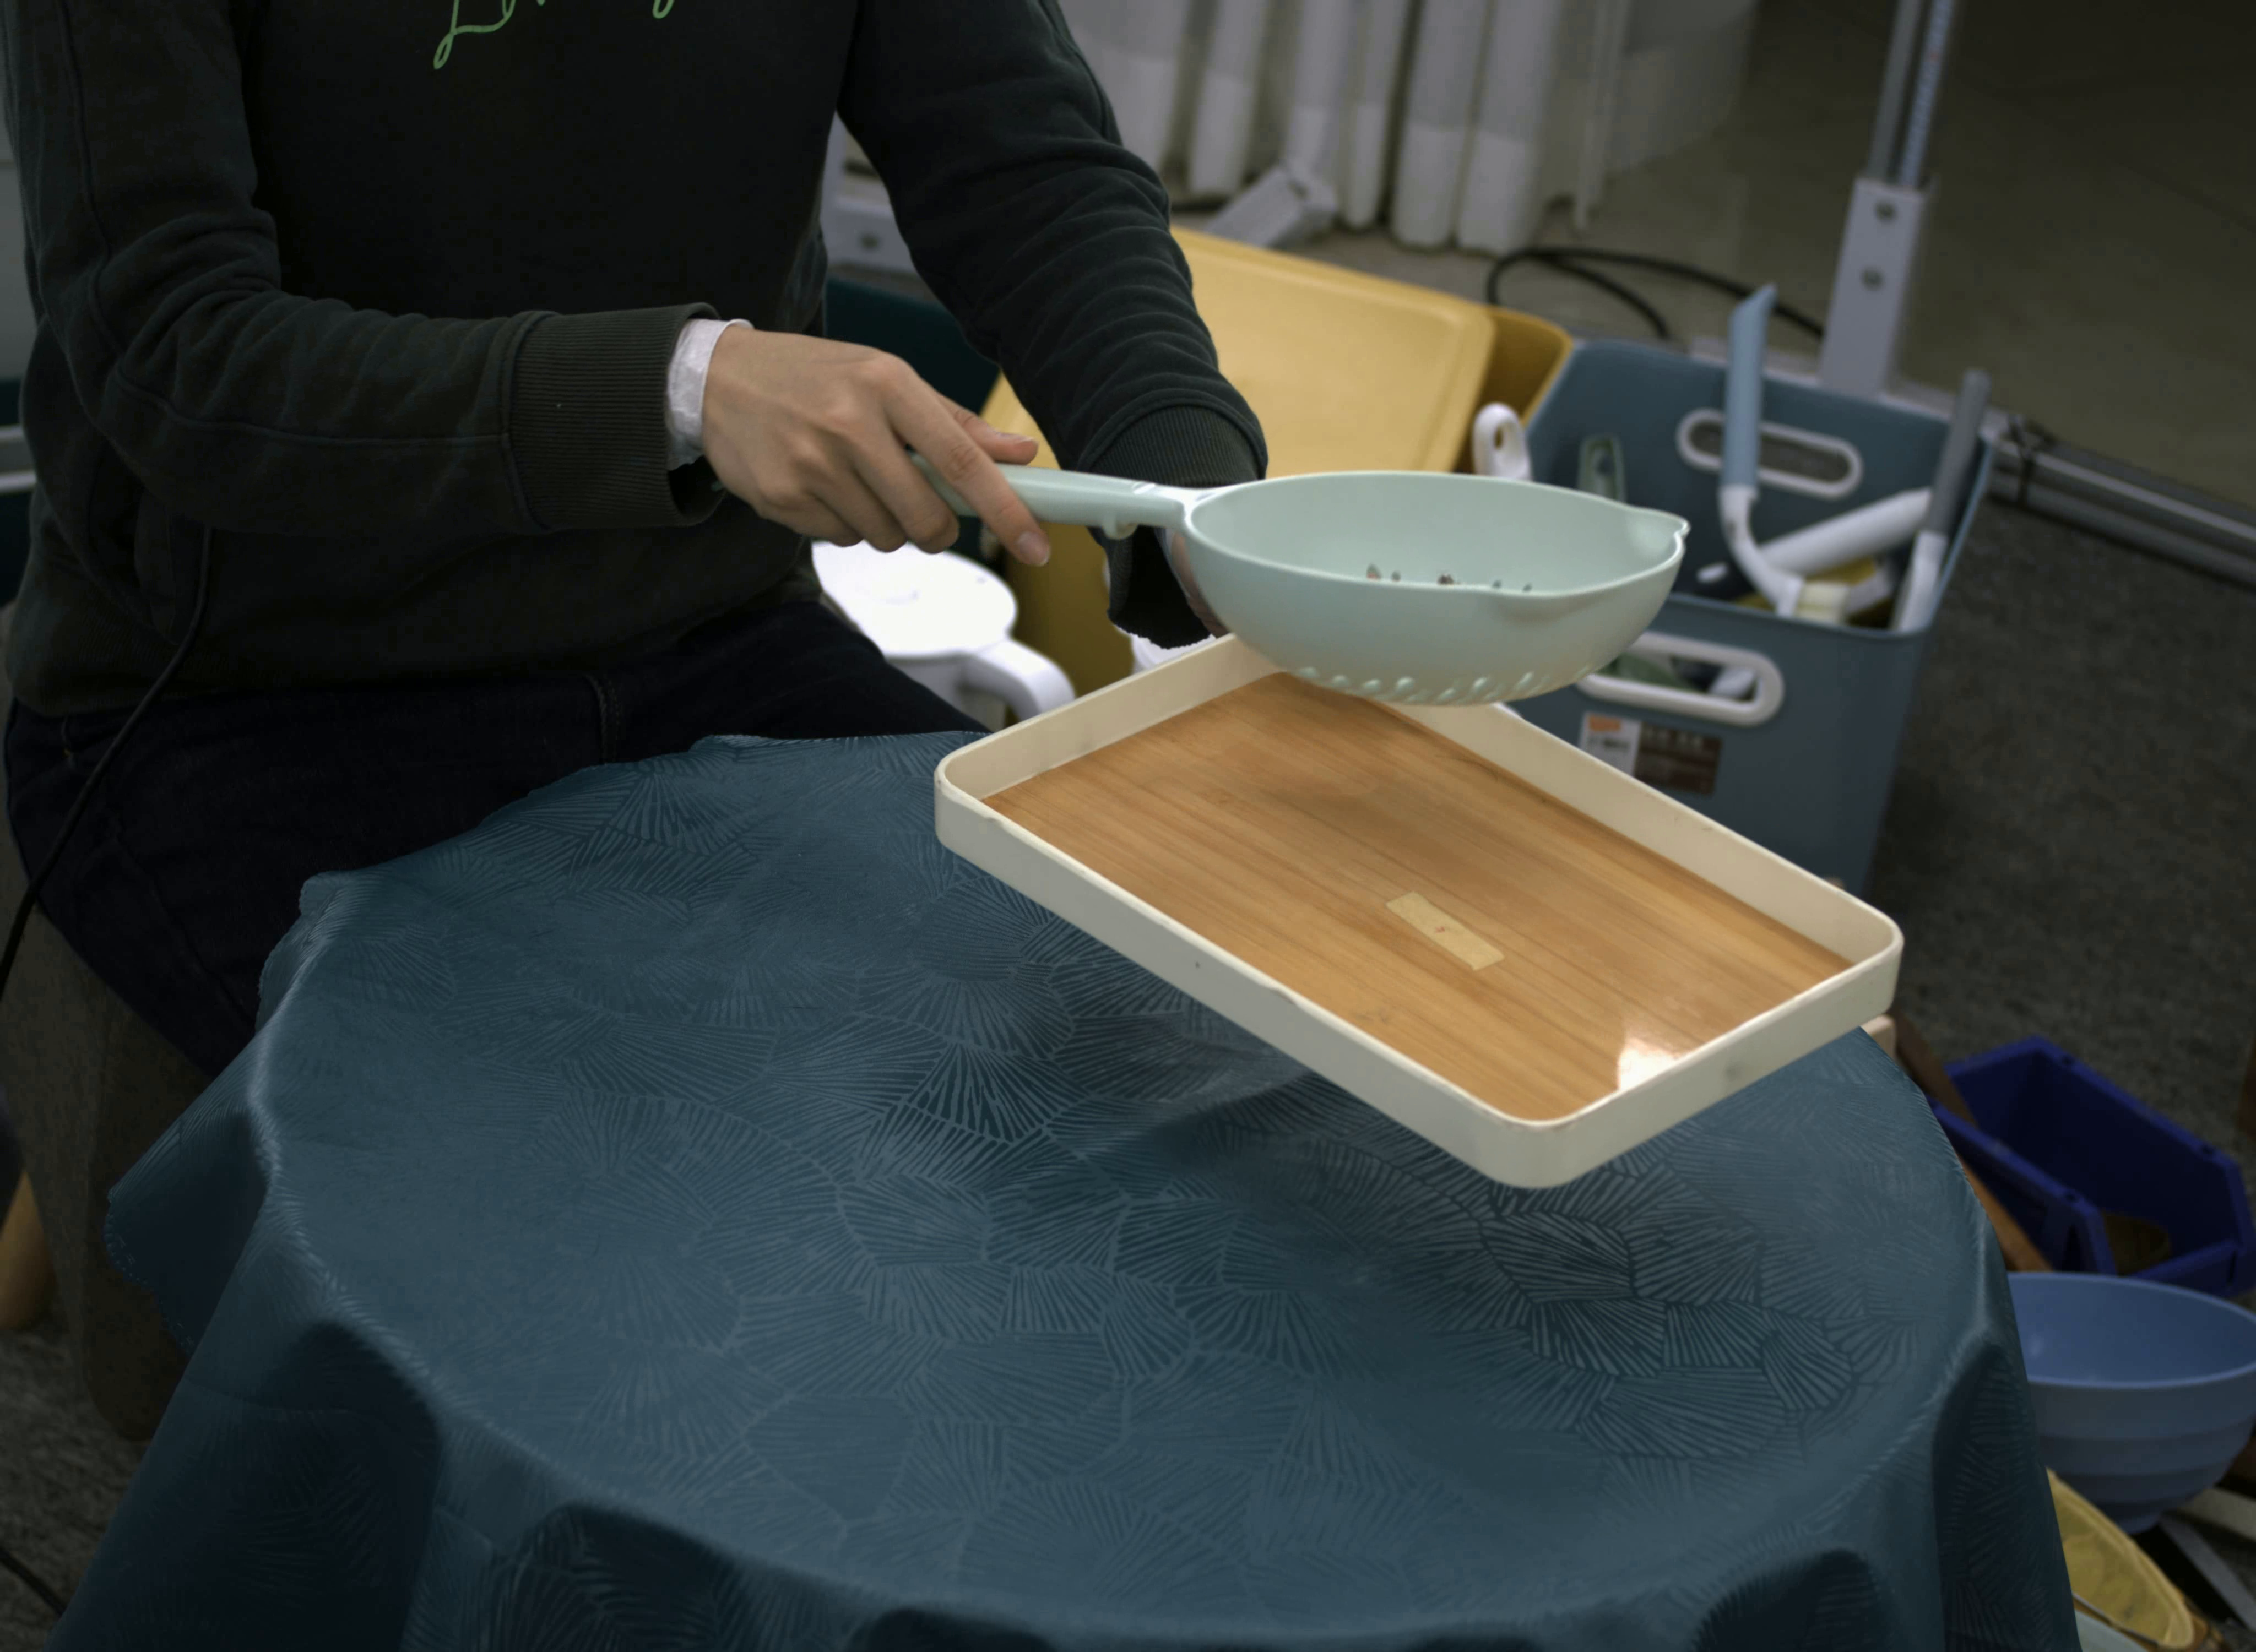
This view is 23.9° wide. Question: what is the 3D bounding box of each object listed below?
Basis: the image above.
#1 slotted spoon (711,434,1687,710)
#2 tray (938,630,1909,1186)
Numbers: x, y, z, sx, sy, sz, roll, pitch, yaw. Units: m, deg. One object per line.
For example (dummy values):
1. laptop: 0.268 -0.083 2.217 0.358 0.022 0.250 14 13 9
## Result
1. slotted spoon: 0.014 -0.103 1.844 0.360 0.075 0.169 18 20 22
2. tray: 0.096 0.019 1.808 0.191 0.027 0.303 -23 39 -36
